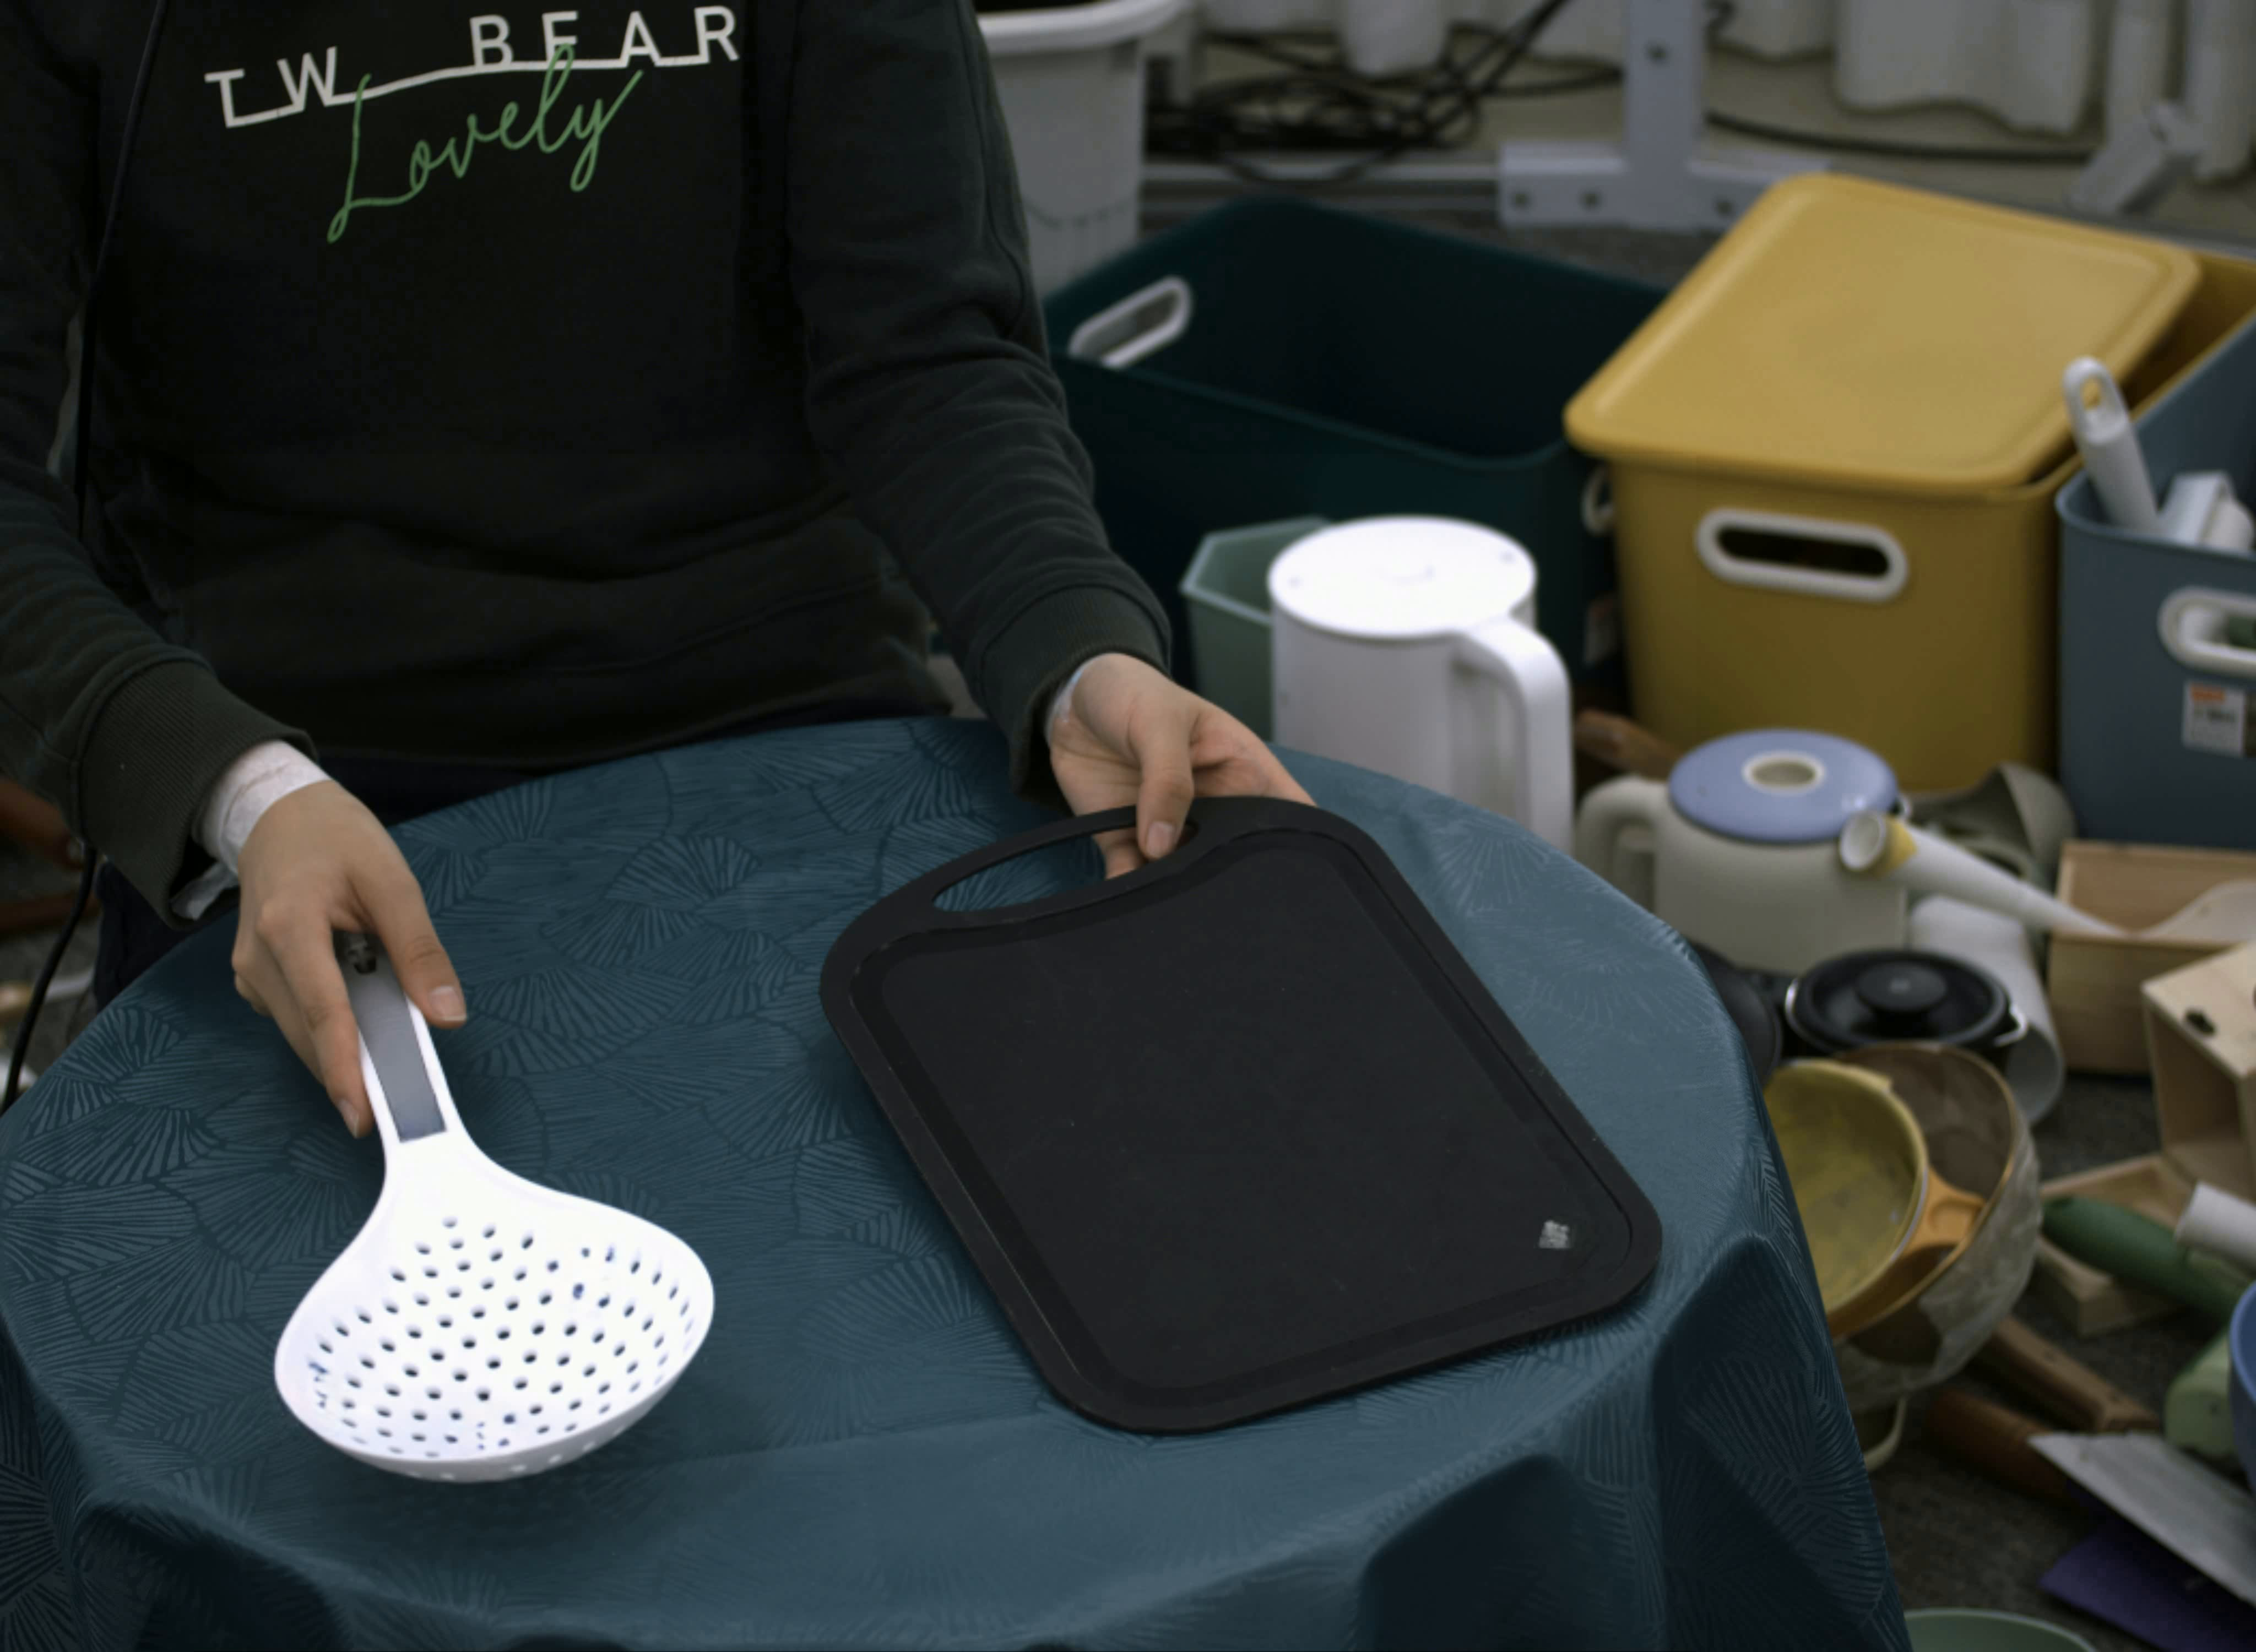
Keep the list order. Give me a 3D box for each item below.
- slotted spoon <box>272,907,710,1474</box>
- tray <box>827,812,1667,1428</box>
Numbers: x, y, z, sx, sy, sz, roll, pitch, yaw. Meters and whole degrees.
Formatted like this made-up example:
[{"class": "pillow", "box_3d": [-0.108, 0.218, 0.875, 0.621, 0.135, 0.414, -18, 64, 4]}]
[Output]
[{"class": "slotted spoon", "box_3d": [-0.225, 0.112, 1.820, 0.136, 0.045, 0.354, -12, 33, -12]}, {"class": "tray", "box_3d": [0.030, 0.087, 1.877, 0.211, 0.009, 0.329, -14, 35, -16]}]
